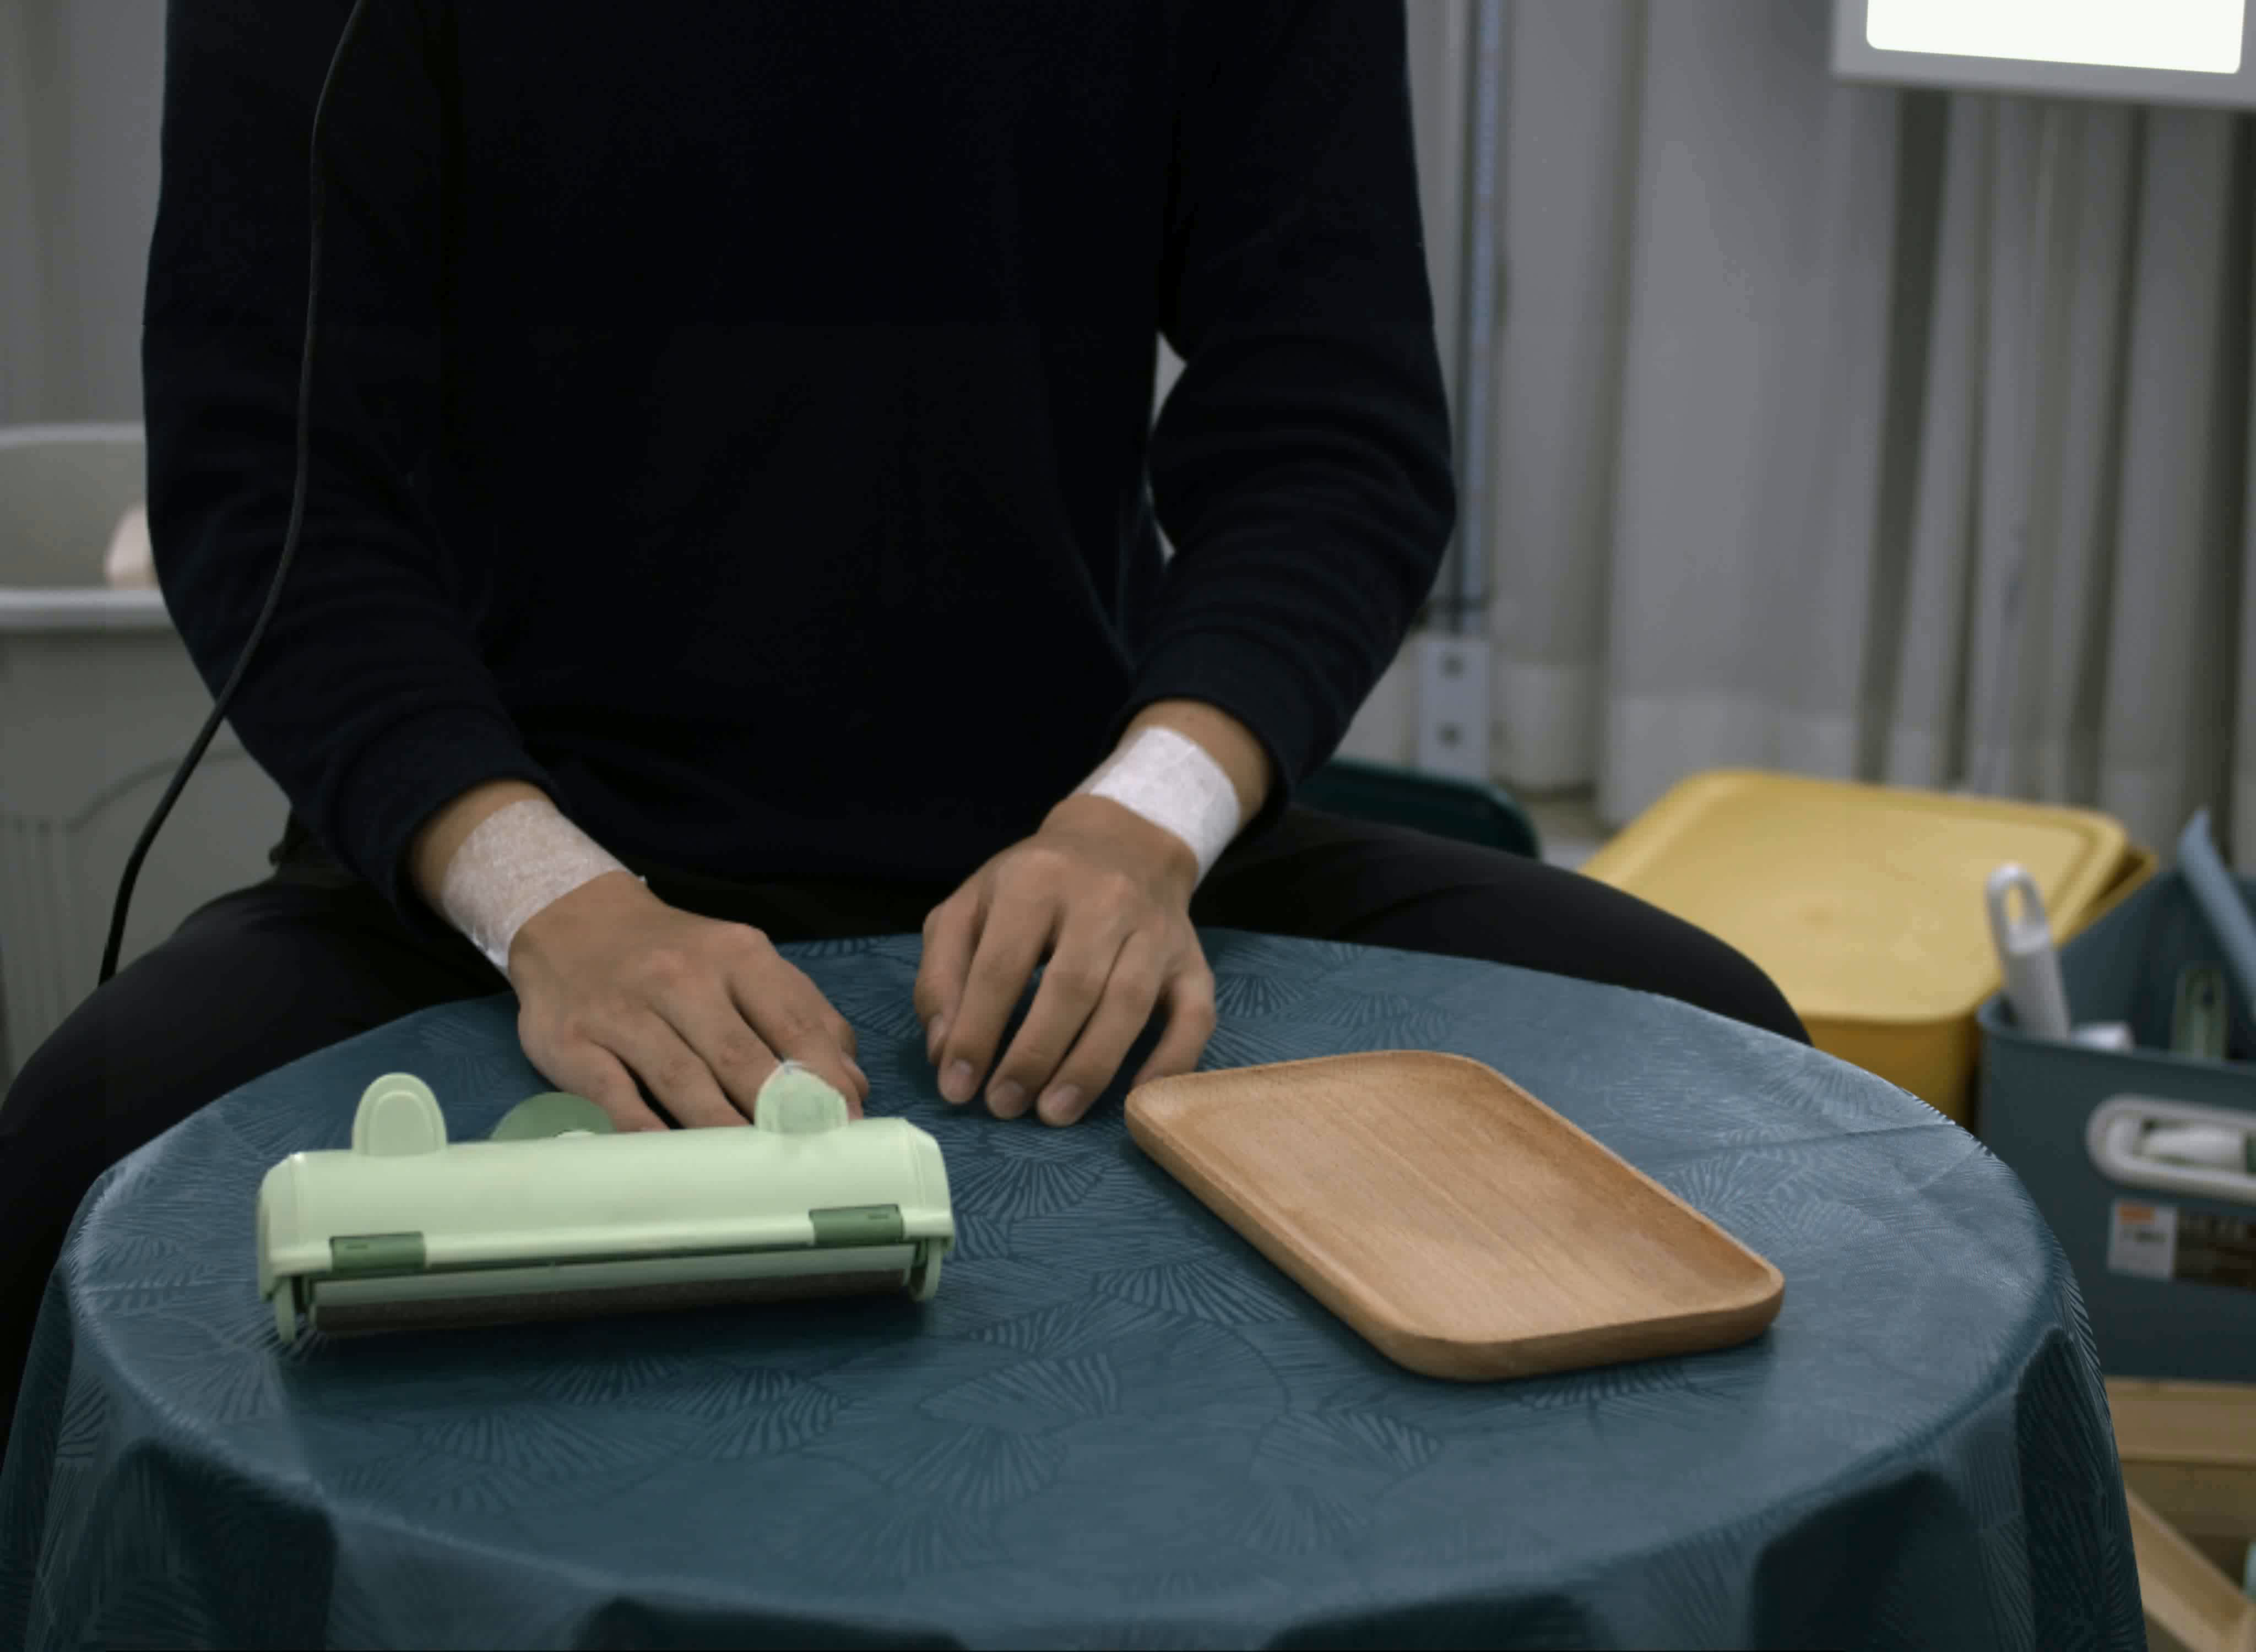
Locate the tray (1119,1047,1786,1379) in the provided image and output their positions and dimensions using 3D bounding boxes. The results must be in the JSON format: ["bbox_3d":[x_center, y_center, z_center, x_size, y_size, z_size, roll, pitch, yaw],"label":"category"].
[{"bbox_3d":[0.093,0.114,1.589,0.131,0.023,0.248,-3,15,-21],"label":"tray"}]

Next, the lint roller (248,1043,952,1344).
[{"bbox_3d":[-0.163,0.087,1.548,0.199,0.083,0.181,-2,22,-14],"label":"lint roller"}]
